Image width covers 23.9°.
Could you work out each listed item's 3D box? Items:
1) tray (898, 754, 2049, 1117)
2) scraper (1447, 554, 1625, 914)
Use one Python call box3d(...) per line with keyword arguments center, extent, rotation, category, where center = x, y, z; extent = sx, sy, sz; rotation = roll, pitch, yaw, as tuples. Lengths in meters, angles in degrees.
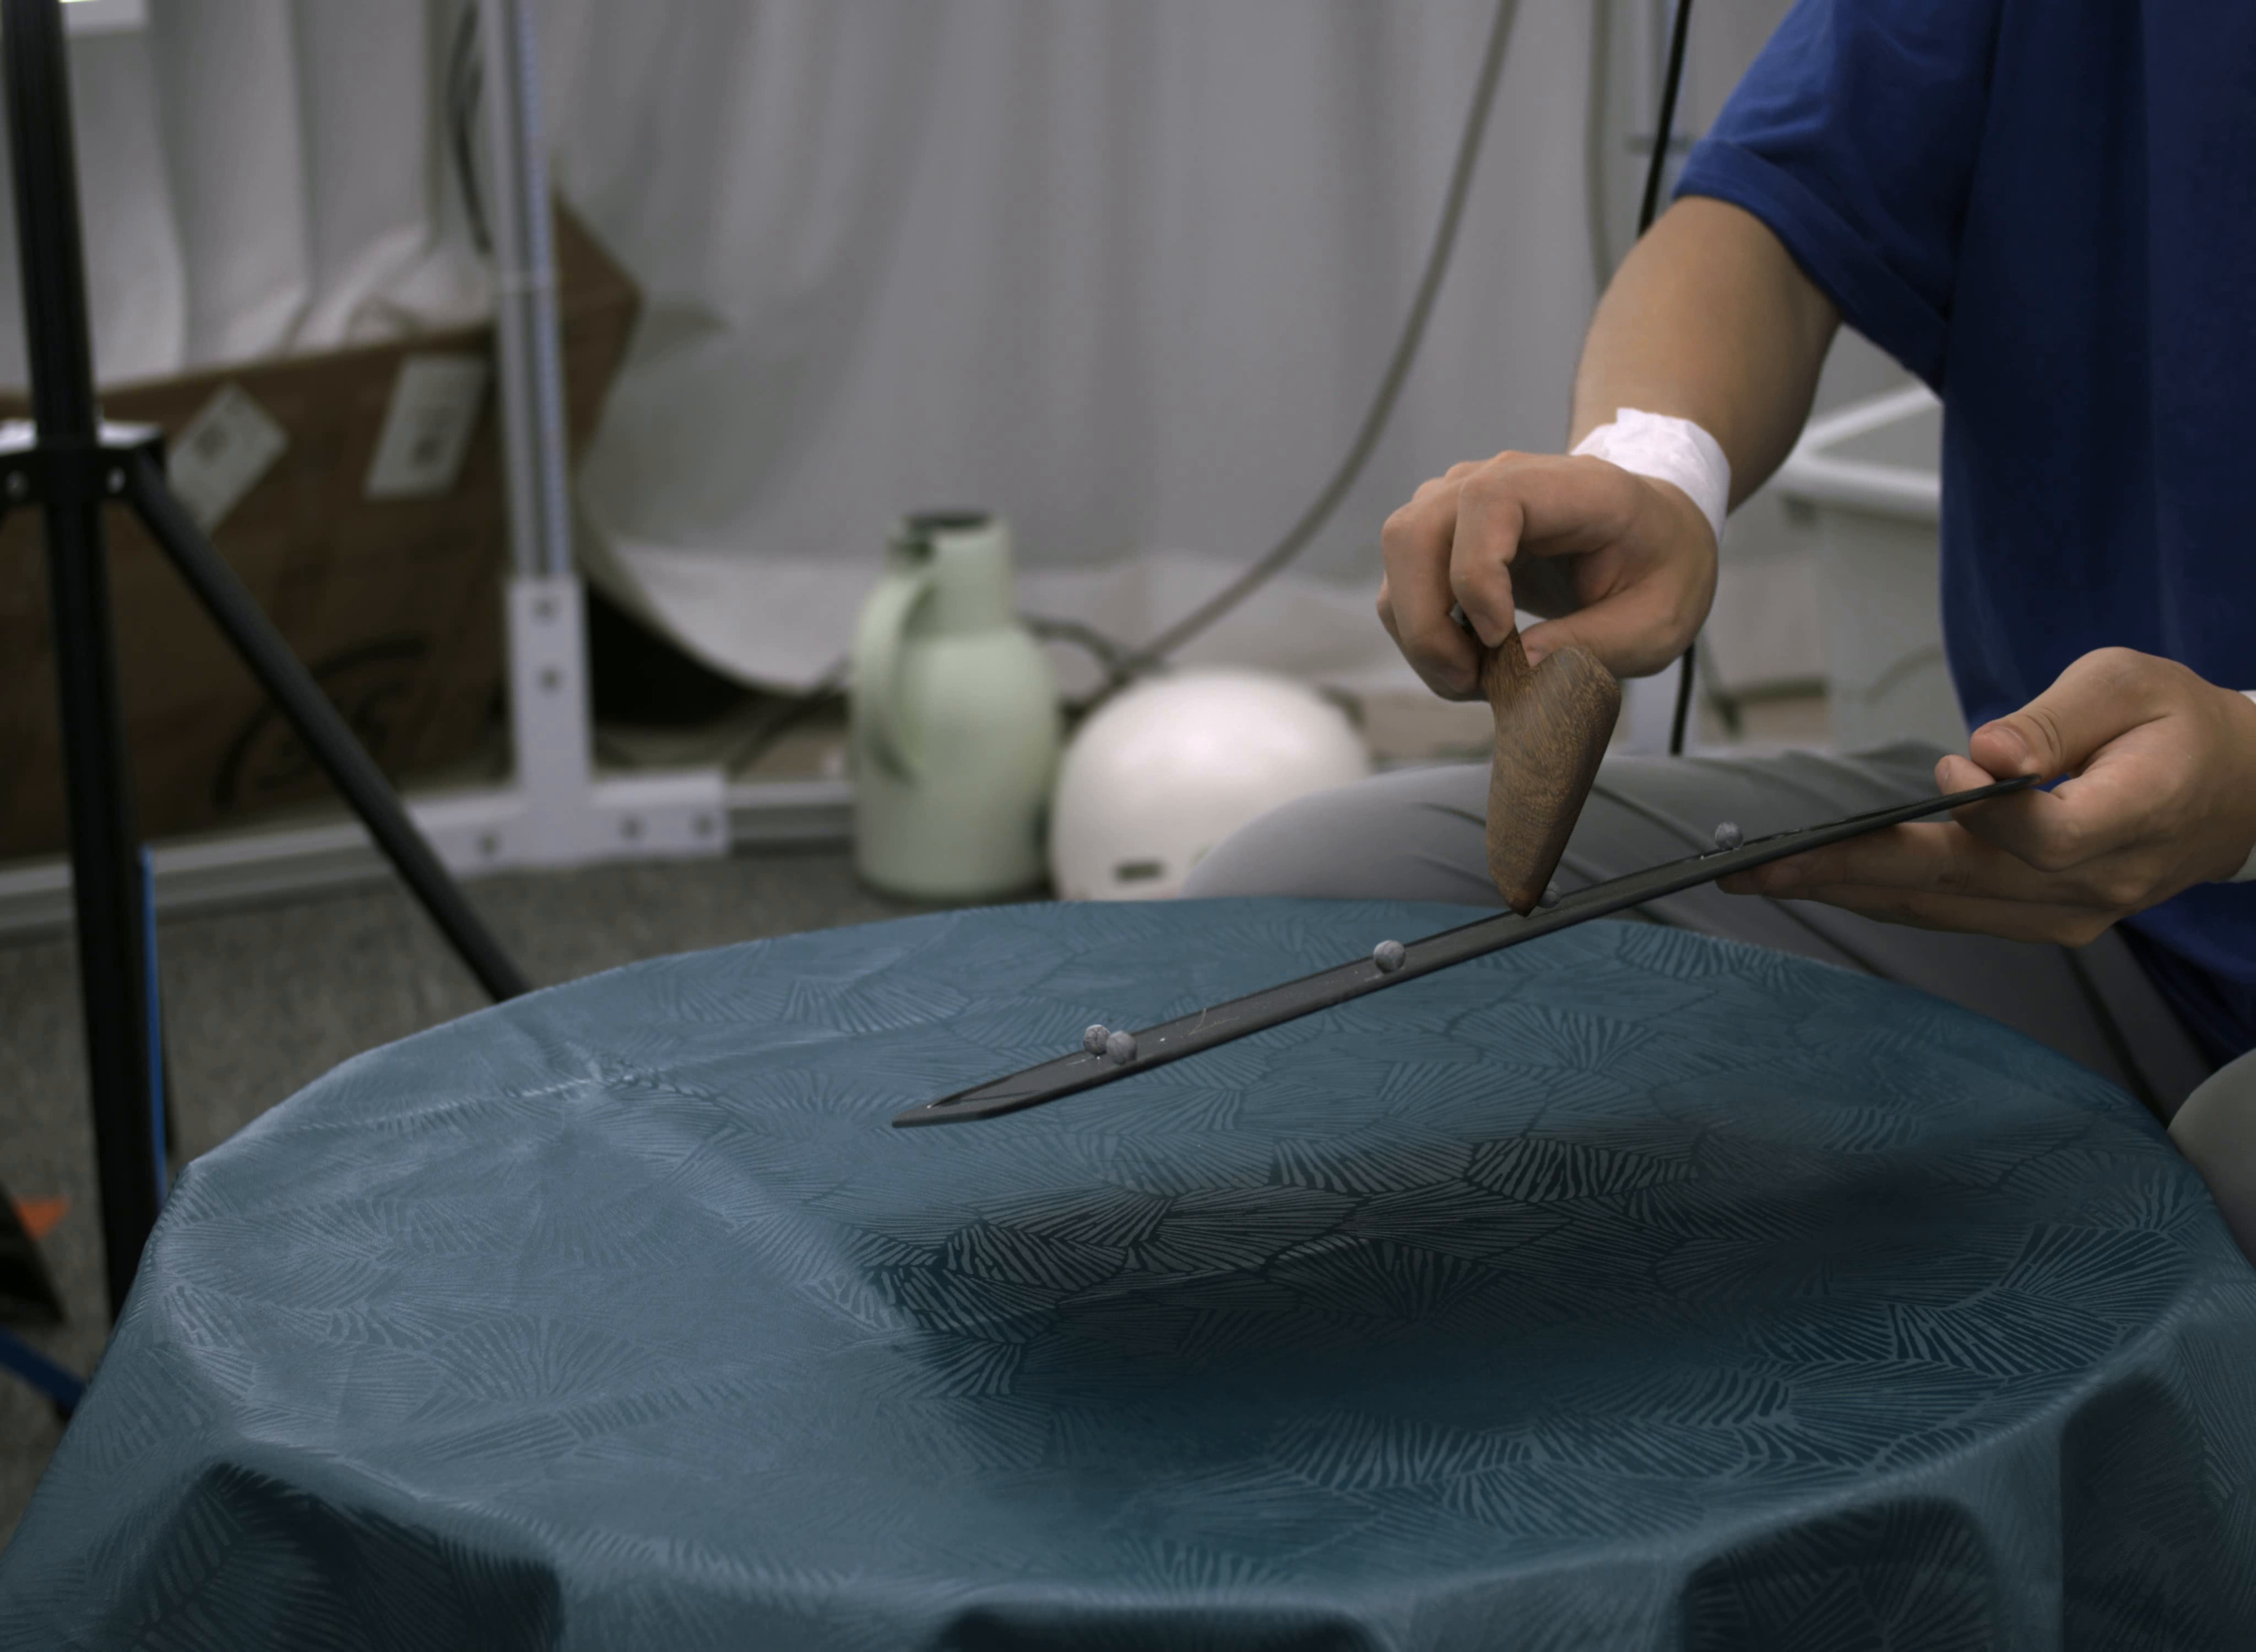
box3d(center=(0.098, 0.029, 1.477), extent=(0.321, 0.010, 0.212), rotation=(-17, -1, -11), category="tray")
box3d(center=(0.113, -0.040, 1.563), extent=(0.010, 0.076, 0.213), rotation=(19, 16, -10), category="scraper")
